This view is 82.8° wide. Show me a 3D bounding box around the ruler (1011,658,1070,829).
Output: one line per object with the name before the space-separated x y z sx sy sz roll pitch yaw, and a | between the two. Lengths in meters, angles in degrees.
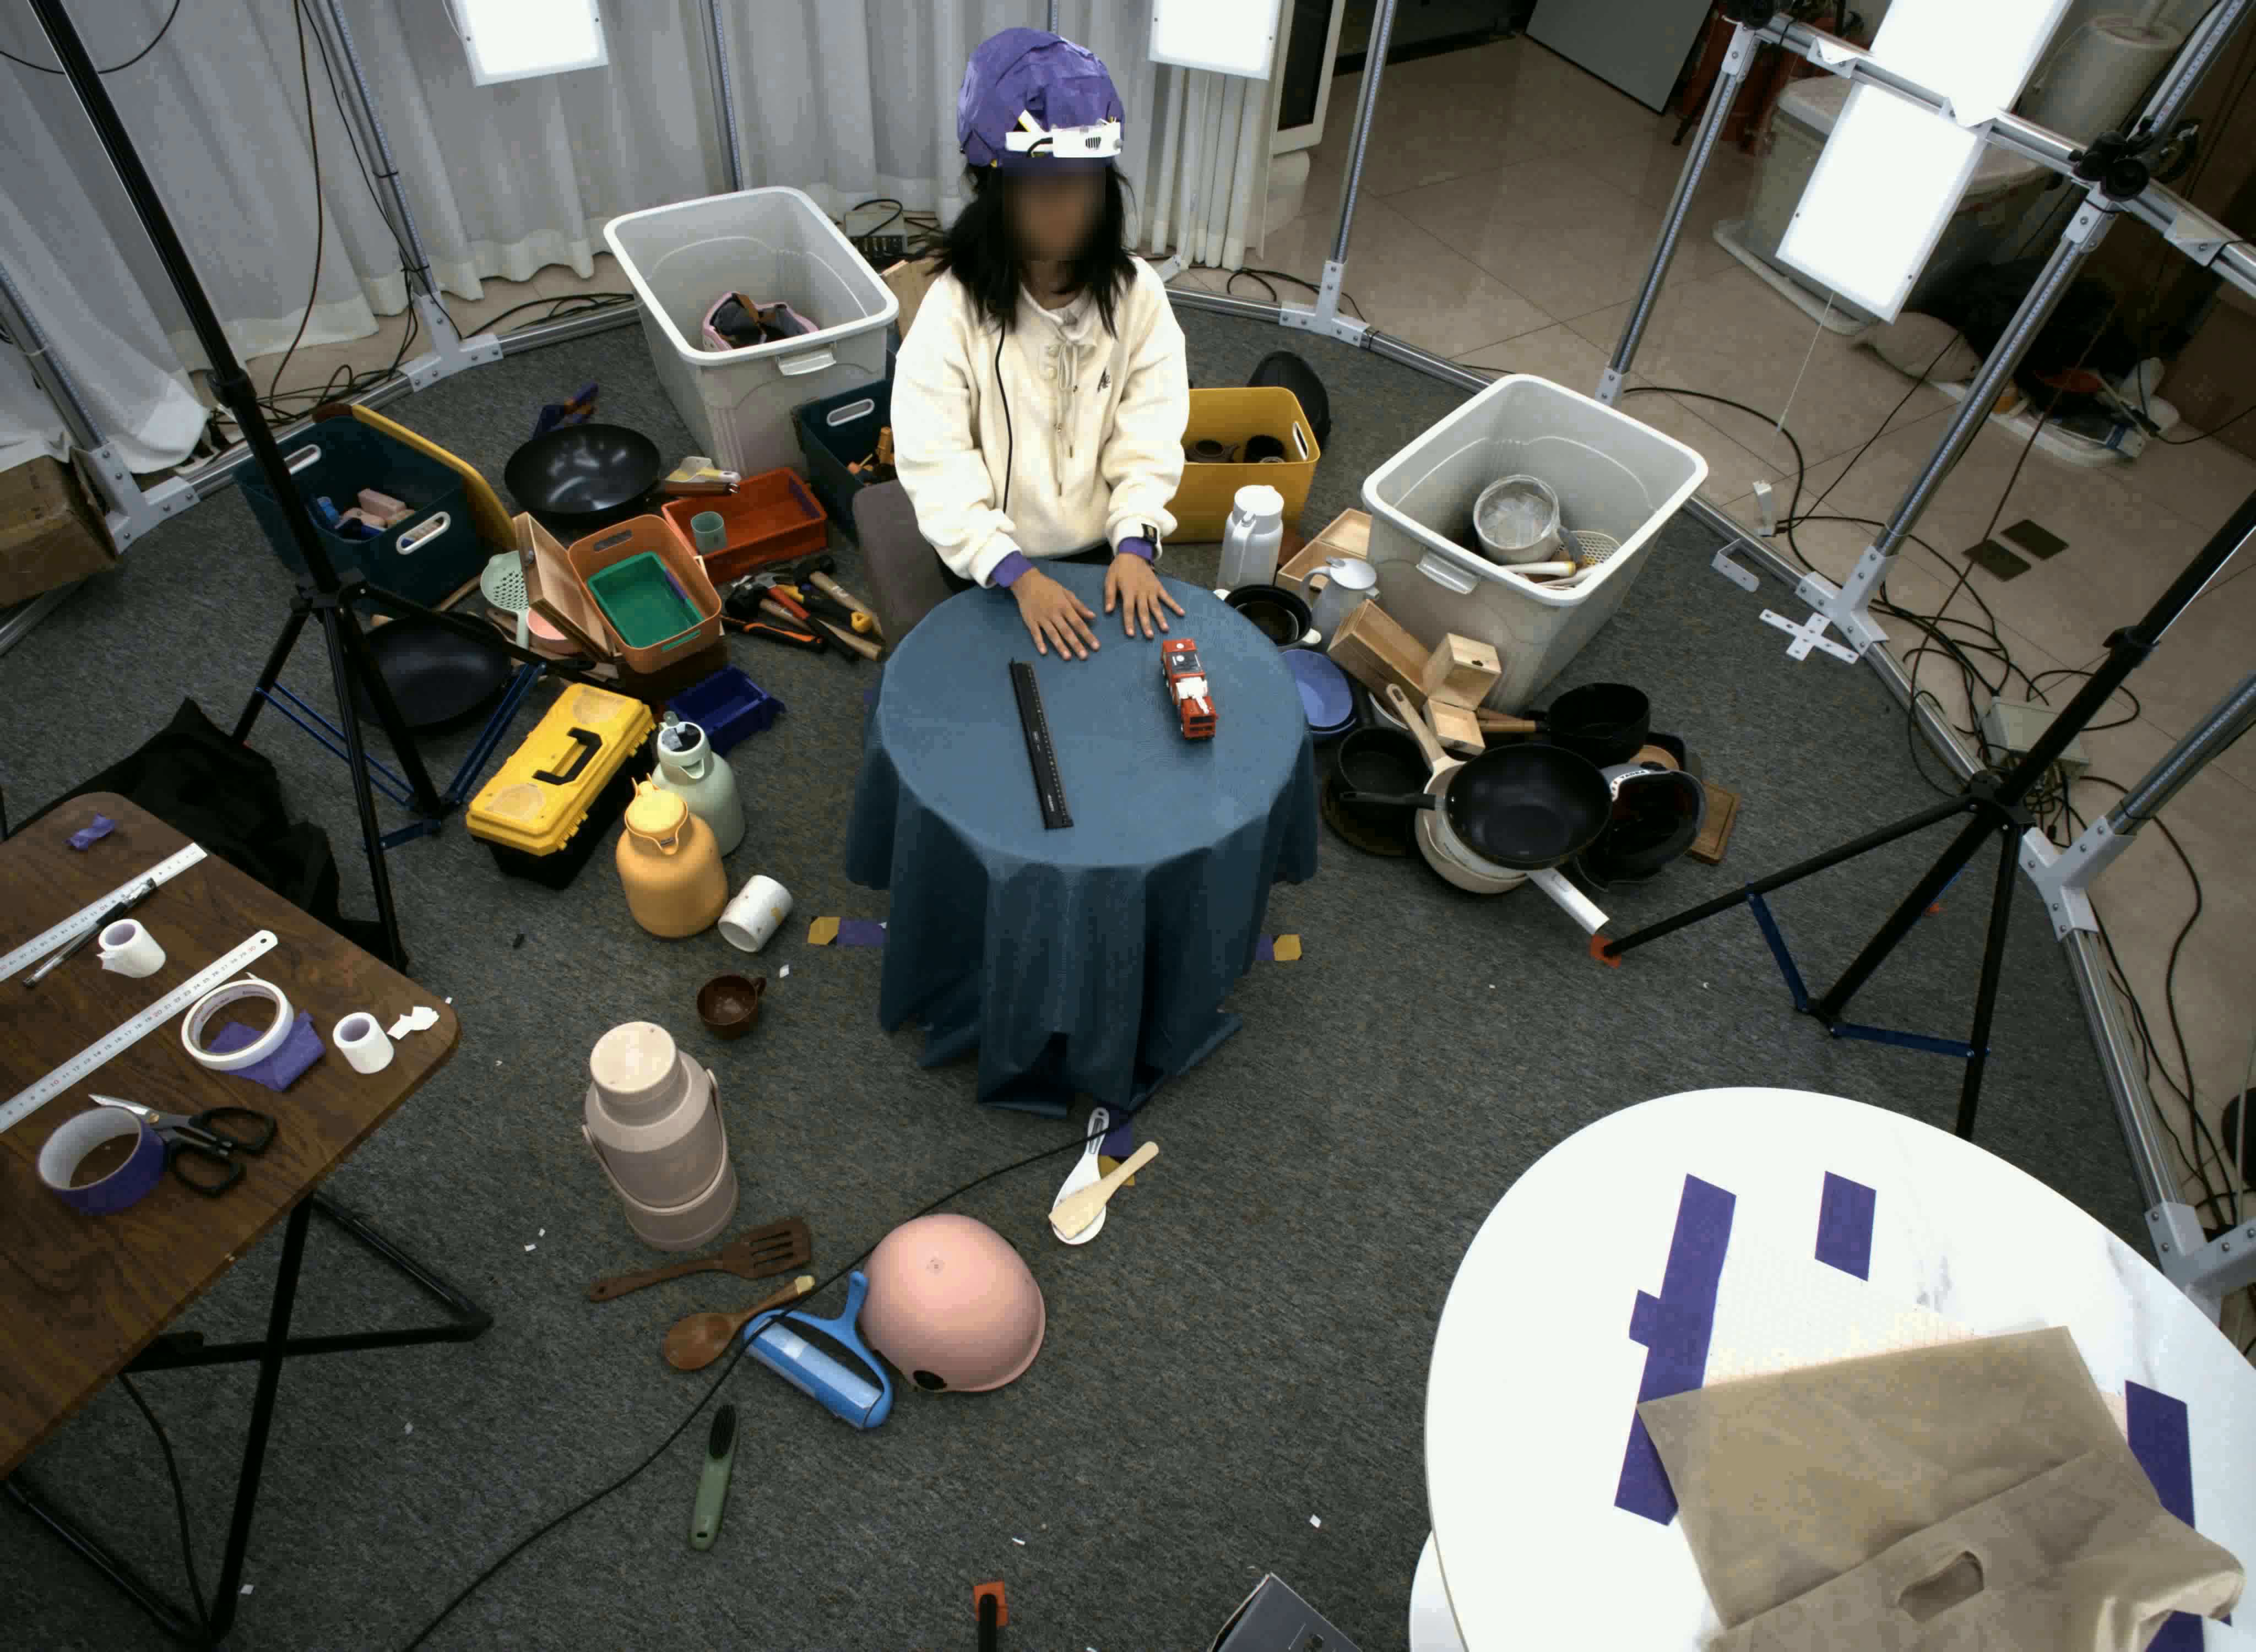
ruler | -0.121 -0.120 1.756 0.039 0.017 0.320 -4 49 -12

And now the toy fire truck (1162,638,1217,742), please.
toy fire truck | 0.086 -0.193 1.806 0.054 0.068 0.172 -6 49 -9
